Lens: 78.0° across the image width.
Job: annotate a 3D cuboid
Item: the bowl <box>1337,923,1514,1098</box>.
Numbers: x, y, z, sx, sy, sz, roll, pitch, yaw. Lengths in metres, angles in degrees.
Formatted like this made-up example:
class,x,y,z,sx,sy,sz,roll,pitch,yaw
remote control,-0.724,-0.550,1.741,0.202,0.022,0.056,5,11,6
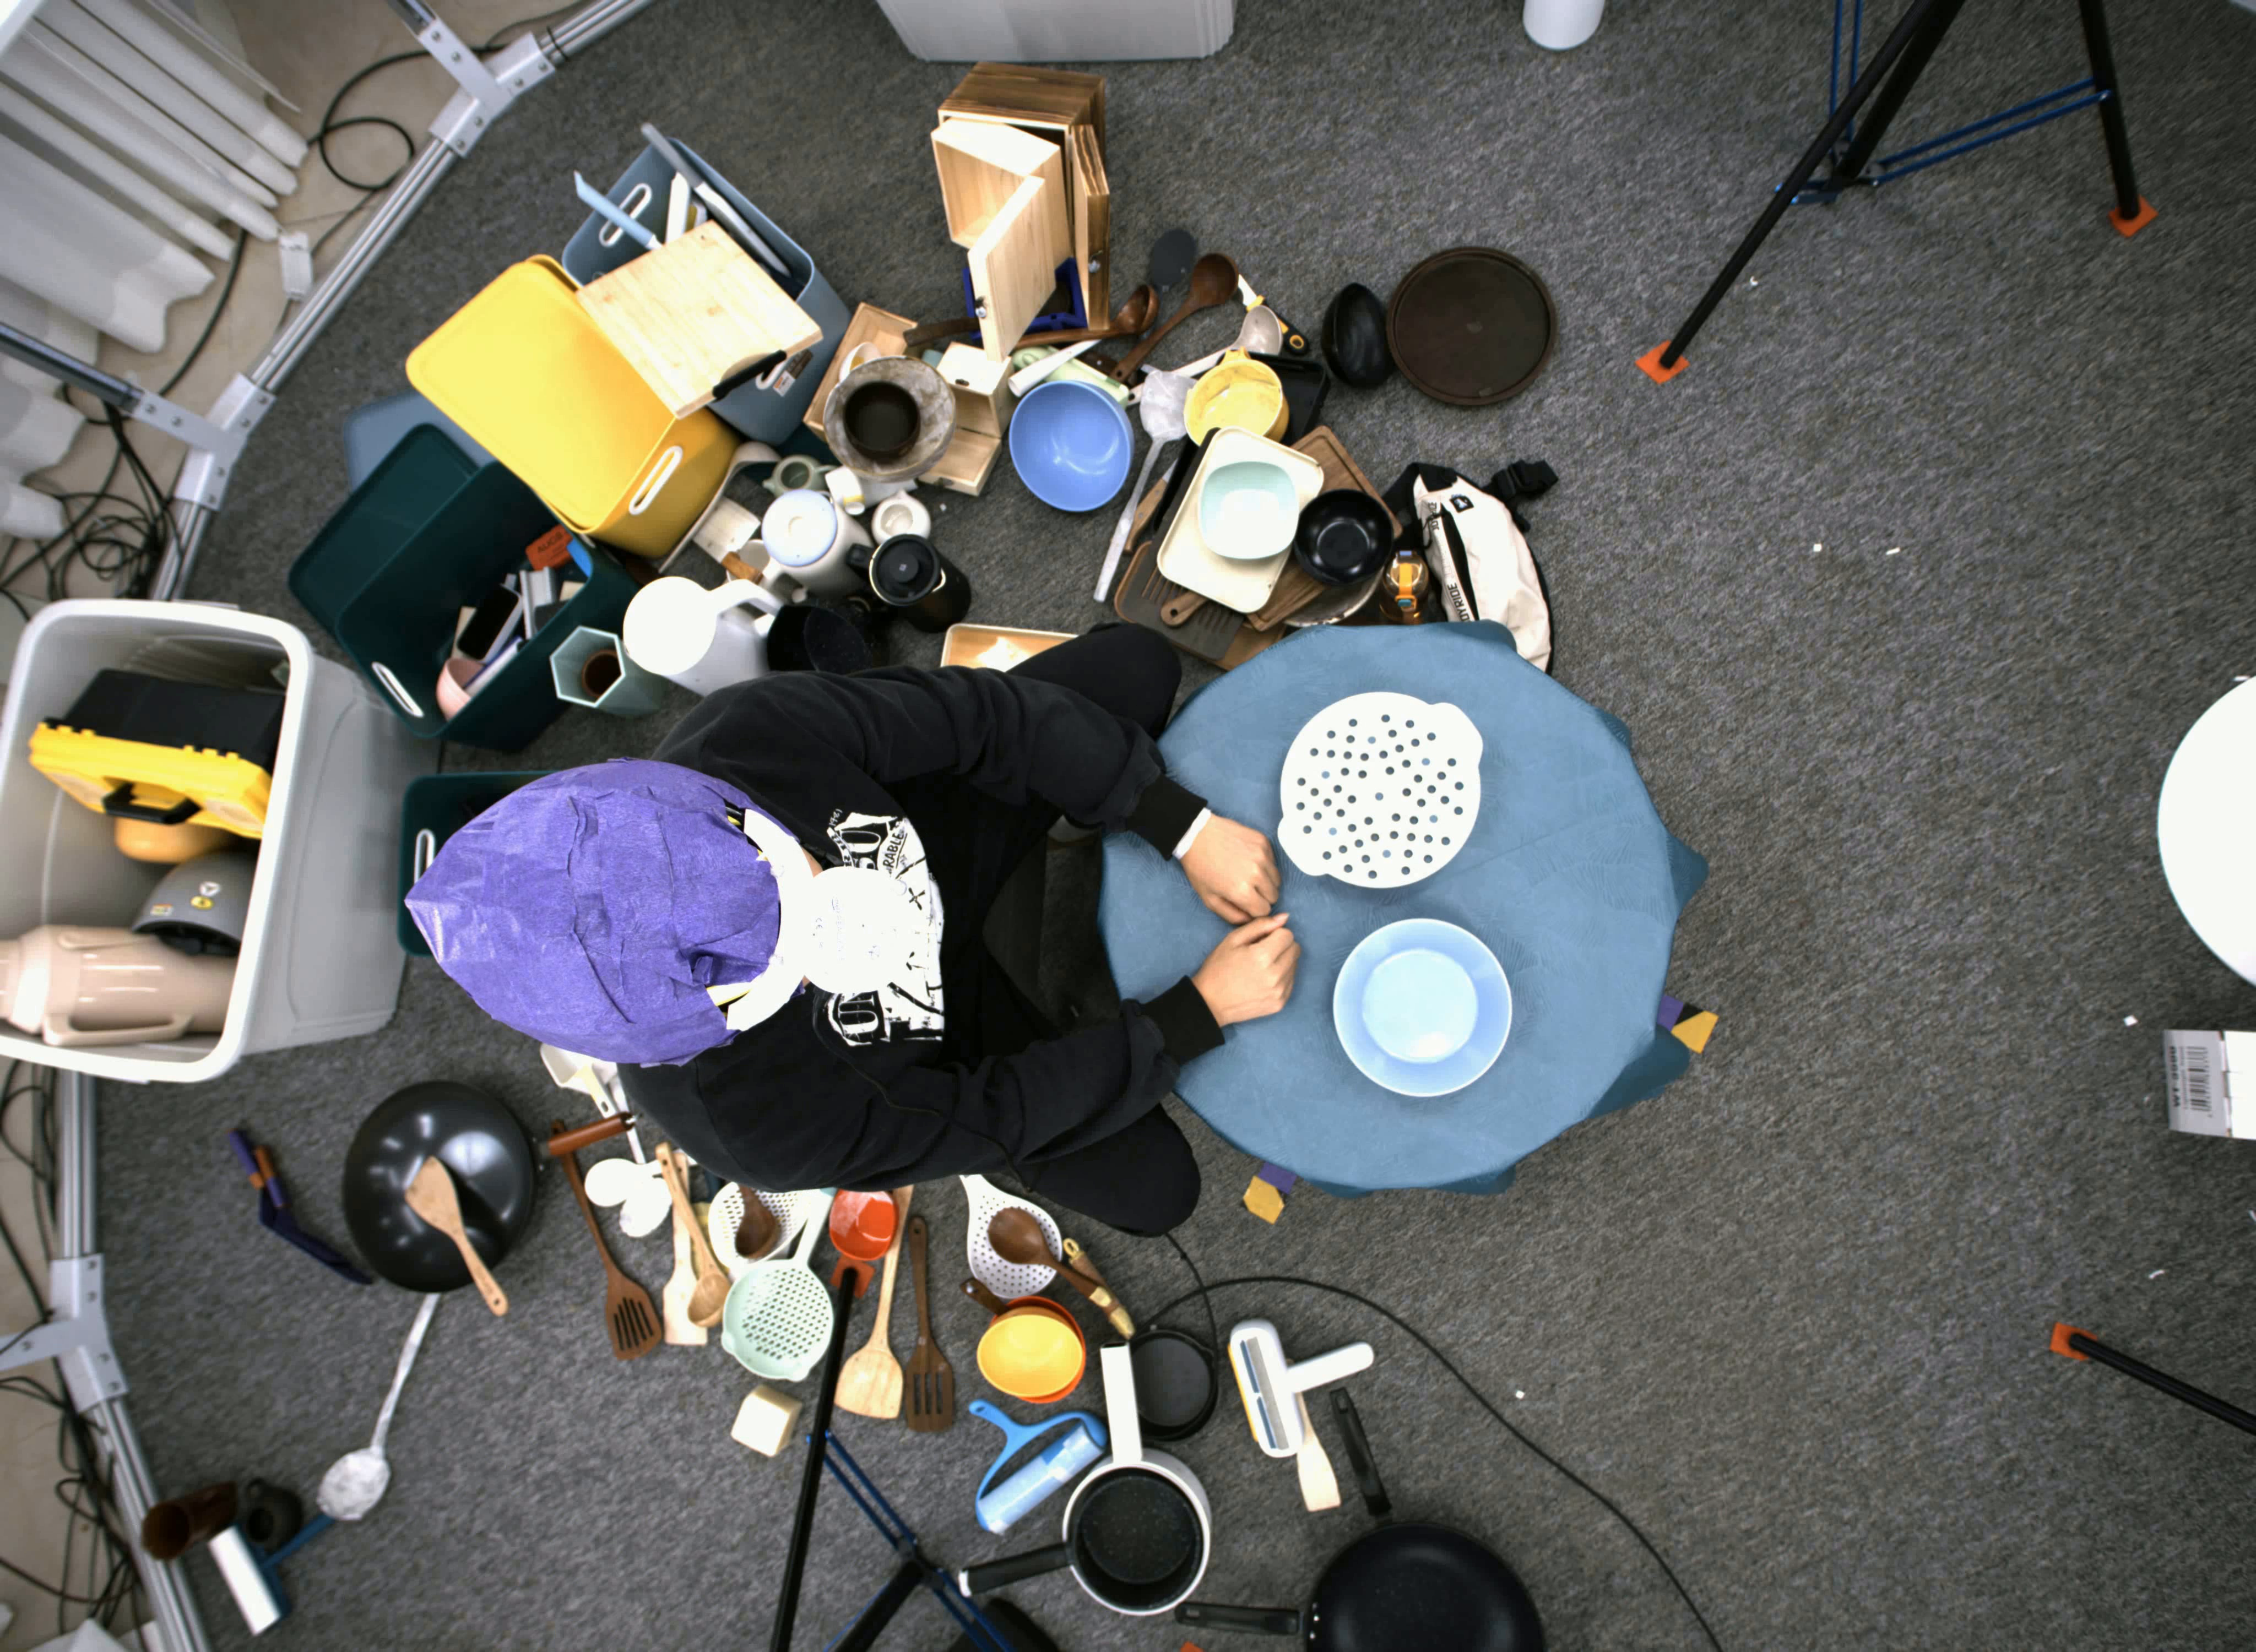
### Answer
class,x,y,z,sx,sy,sz,roll,pitch,yaw
bowl,0.303,0.187,1.415,0.177,0.070,0.175,-1,84,11

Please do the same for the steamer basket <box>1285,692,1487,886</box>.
class,x,y,z,sx,sy,sz,roll,pitch,yaw
steamer basket,0.268,-0.037,1.438,0.231,0.069,0.201,-37,80,3
